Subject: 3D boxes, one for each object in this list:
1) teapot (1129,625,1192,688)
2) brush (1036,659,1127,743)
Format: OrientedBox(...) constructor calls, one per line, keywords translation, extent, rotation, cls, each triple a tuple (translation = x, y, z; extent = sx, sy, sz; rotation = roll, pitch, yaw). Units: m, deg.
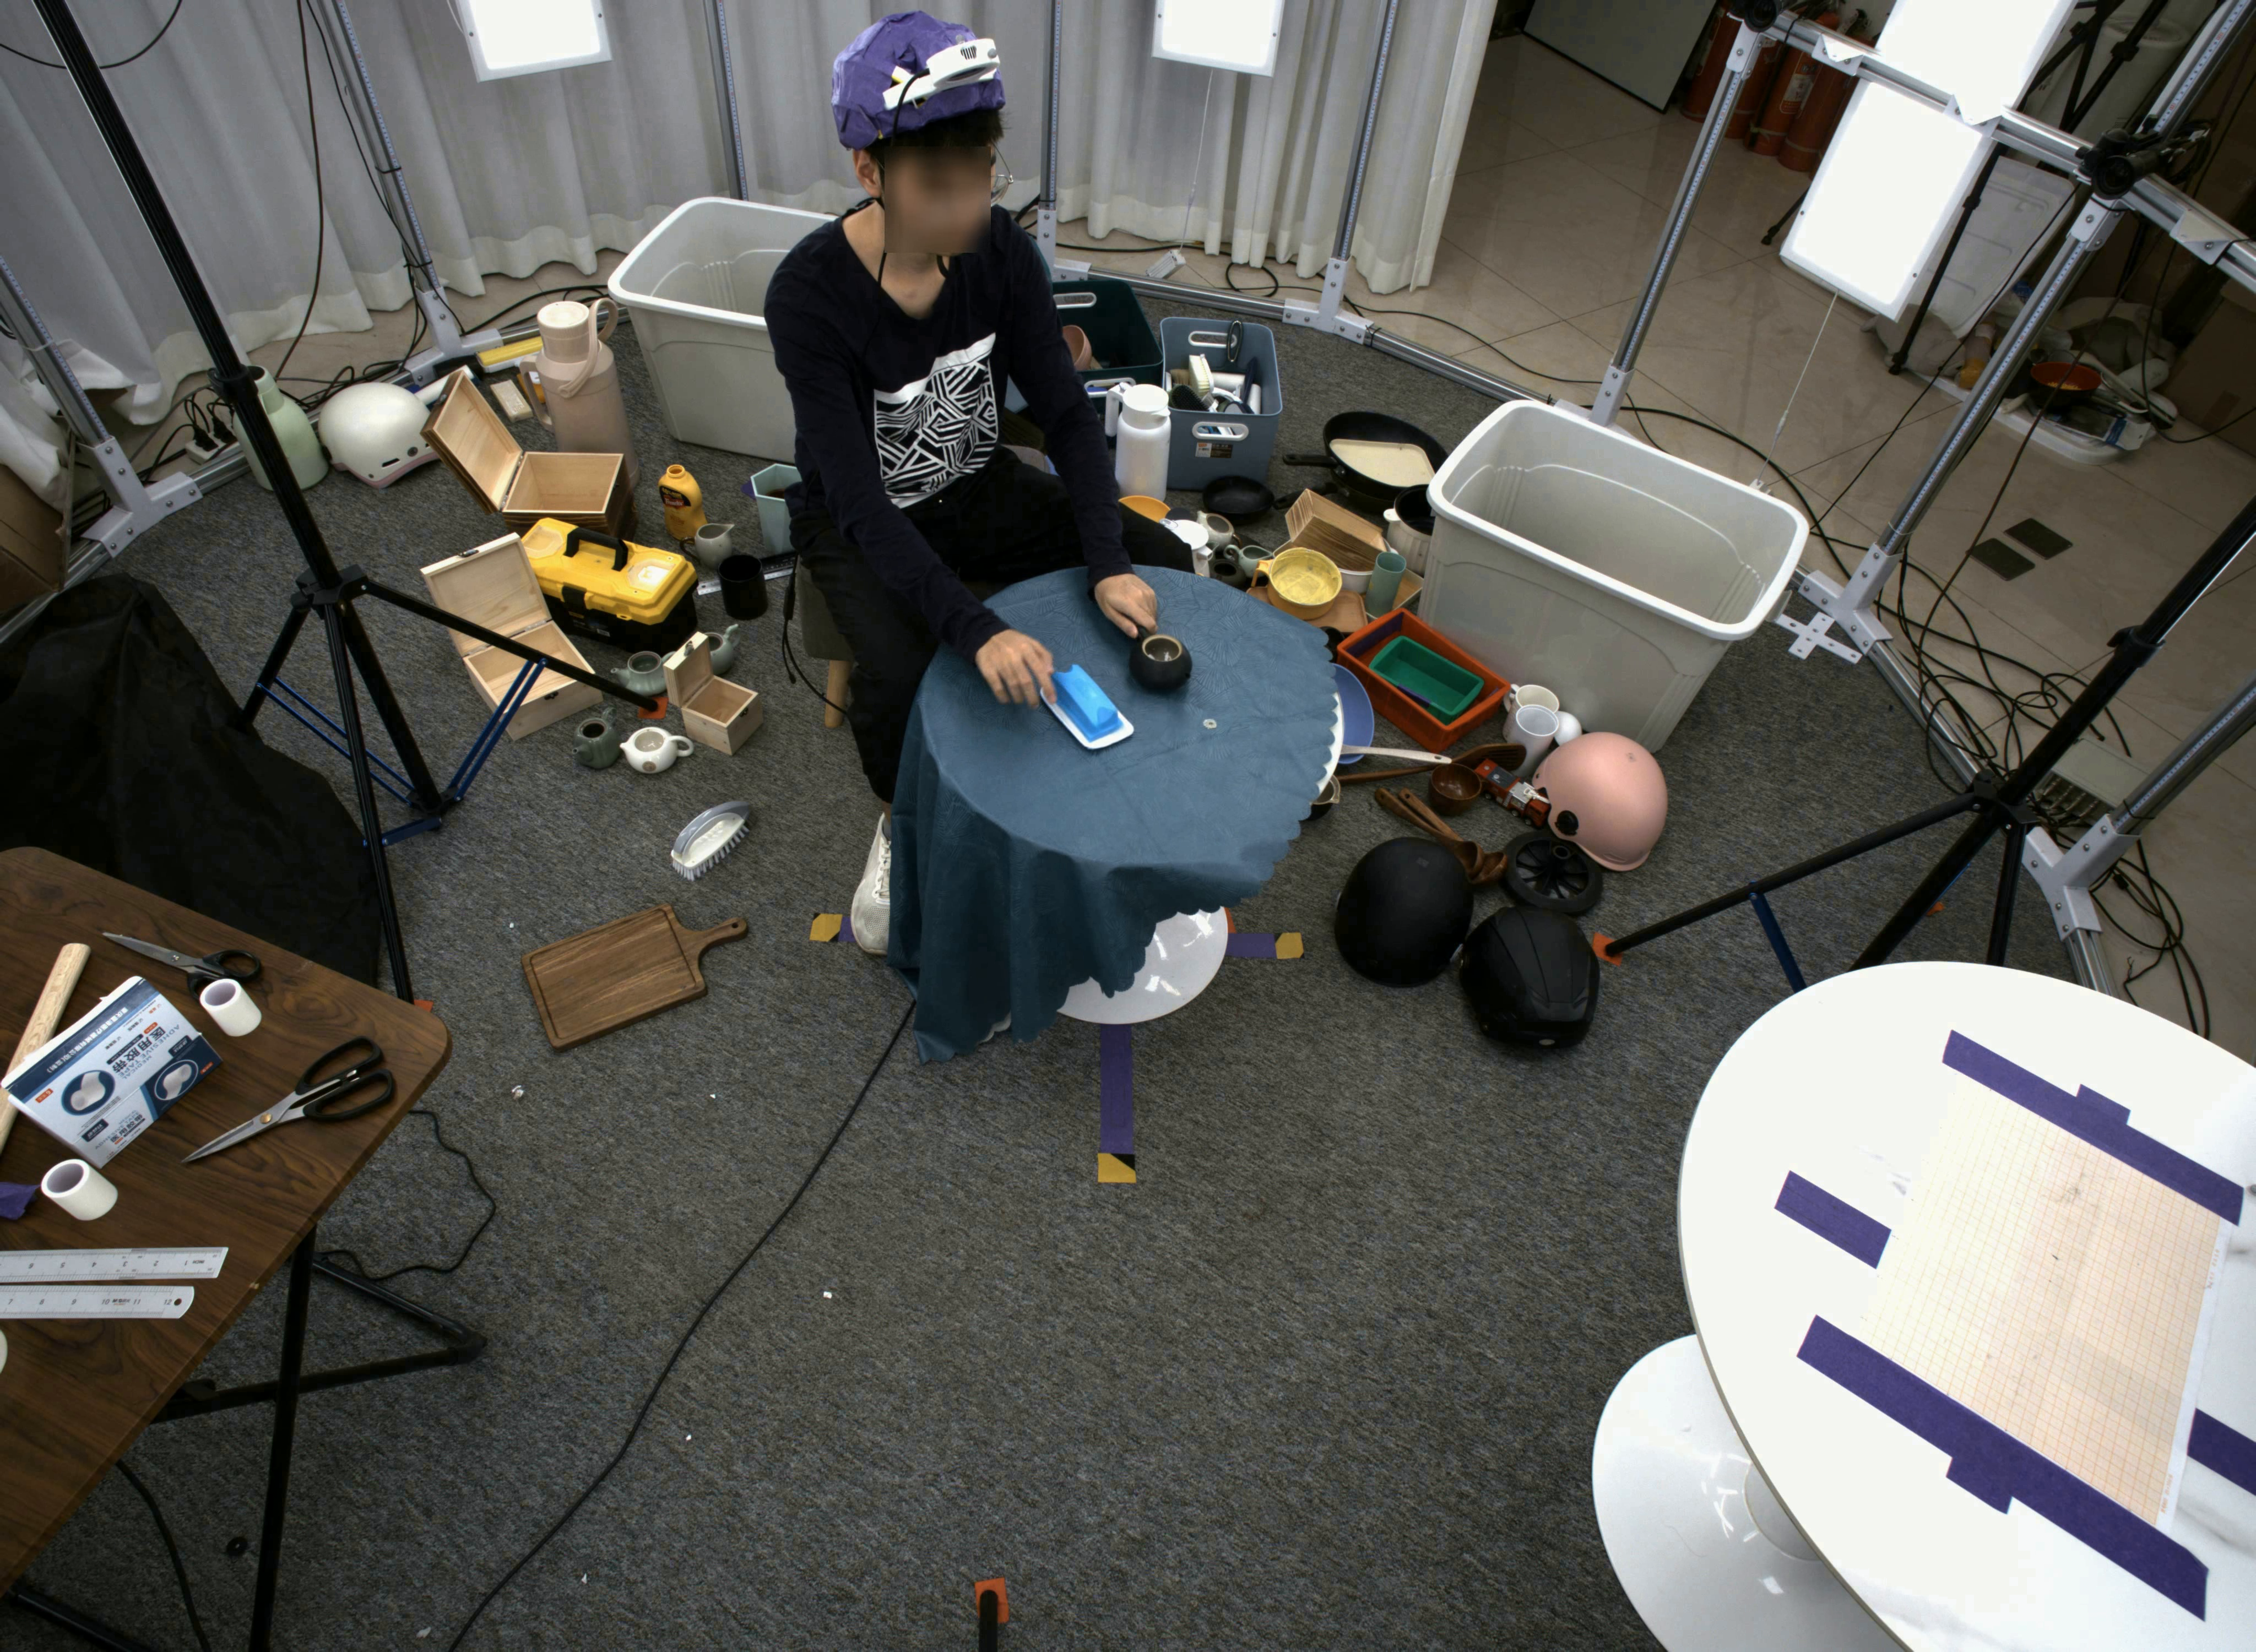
OrientedBox(translation=(0.047, -0.238, 1.841), extent=(0.091, 0.052, 0.136), rotation=(-24, 55, -24), cls="teapot")
OrientedBox(translation=(-0.063, -0.180, 1.779), extent=(0.084, 0.054, 0.147), rotation=(-21, 56, -24), cls="brush")
